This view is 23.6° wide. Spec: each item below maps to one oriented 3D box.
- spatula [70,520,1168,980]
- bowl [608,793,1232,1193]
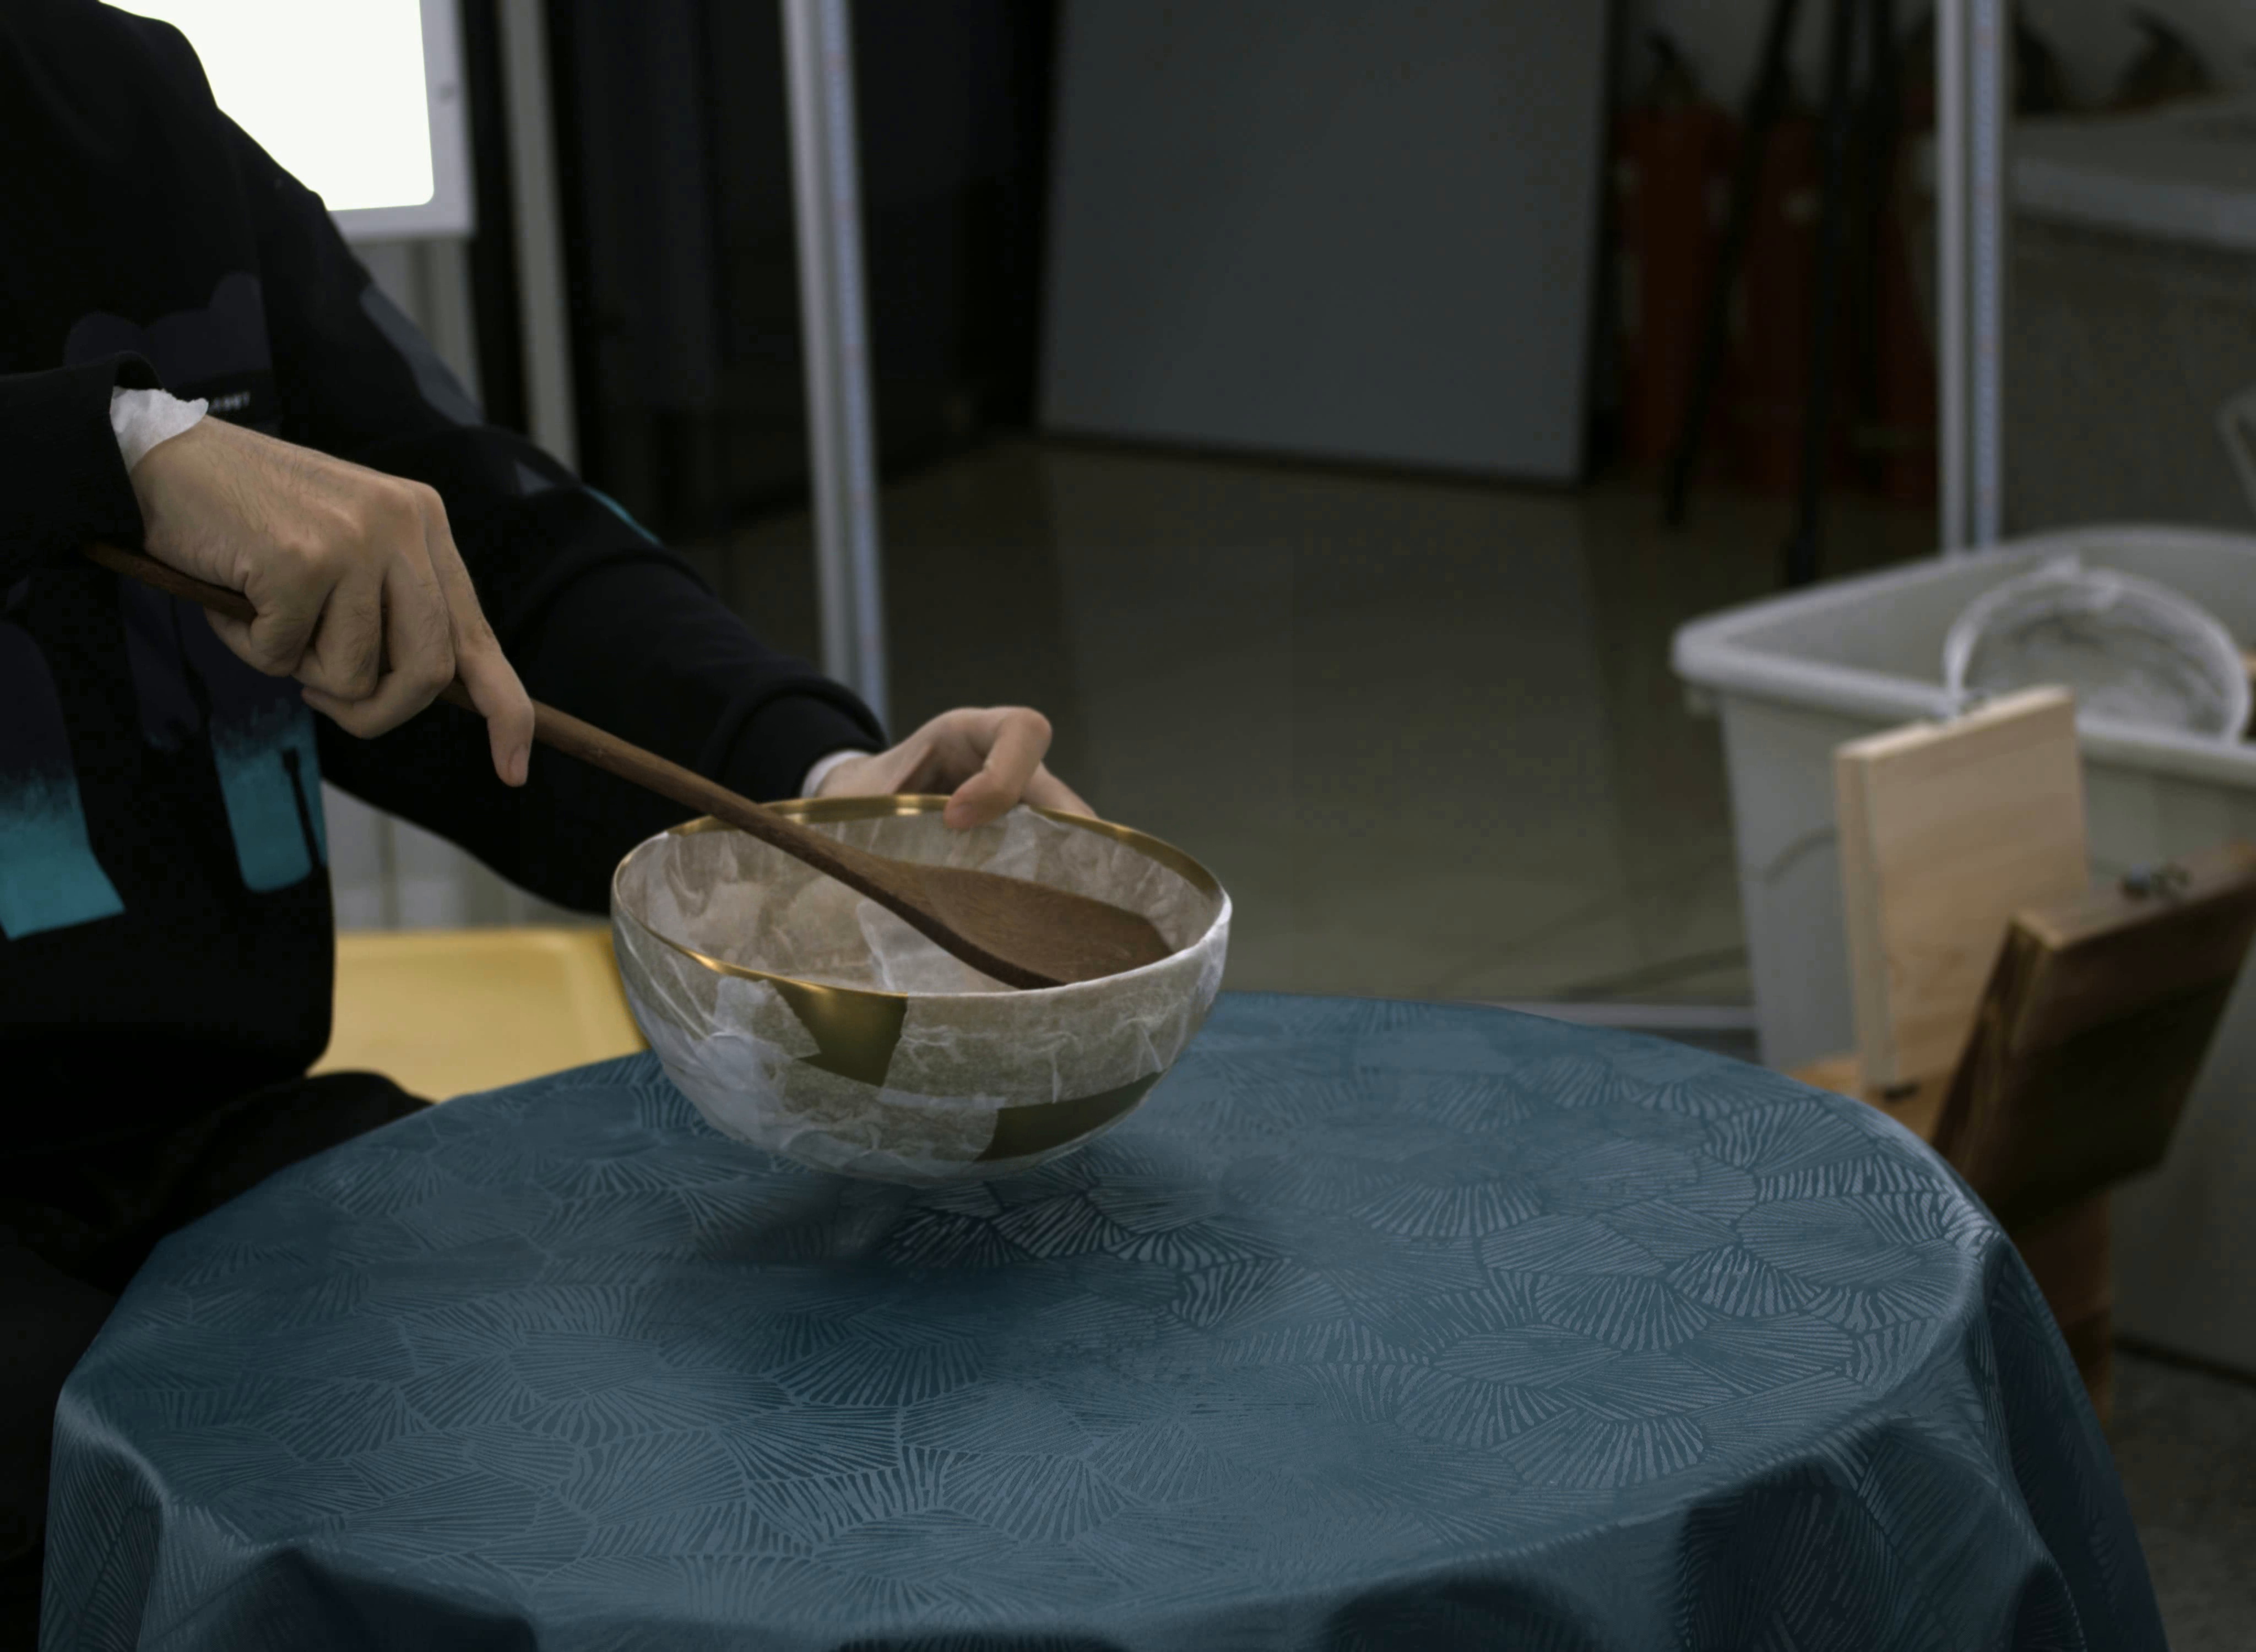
[{"bbox_3d":[-0.155,-0.020,1.724,0.381,0.016,0.096,24,16,-8],"label":"spatula"},{"bbox_3d":[-0.068,0.061,1.743,0.212,0.095,0.215,0,18,-1],"label":"bowl"}]
